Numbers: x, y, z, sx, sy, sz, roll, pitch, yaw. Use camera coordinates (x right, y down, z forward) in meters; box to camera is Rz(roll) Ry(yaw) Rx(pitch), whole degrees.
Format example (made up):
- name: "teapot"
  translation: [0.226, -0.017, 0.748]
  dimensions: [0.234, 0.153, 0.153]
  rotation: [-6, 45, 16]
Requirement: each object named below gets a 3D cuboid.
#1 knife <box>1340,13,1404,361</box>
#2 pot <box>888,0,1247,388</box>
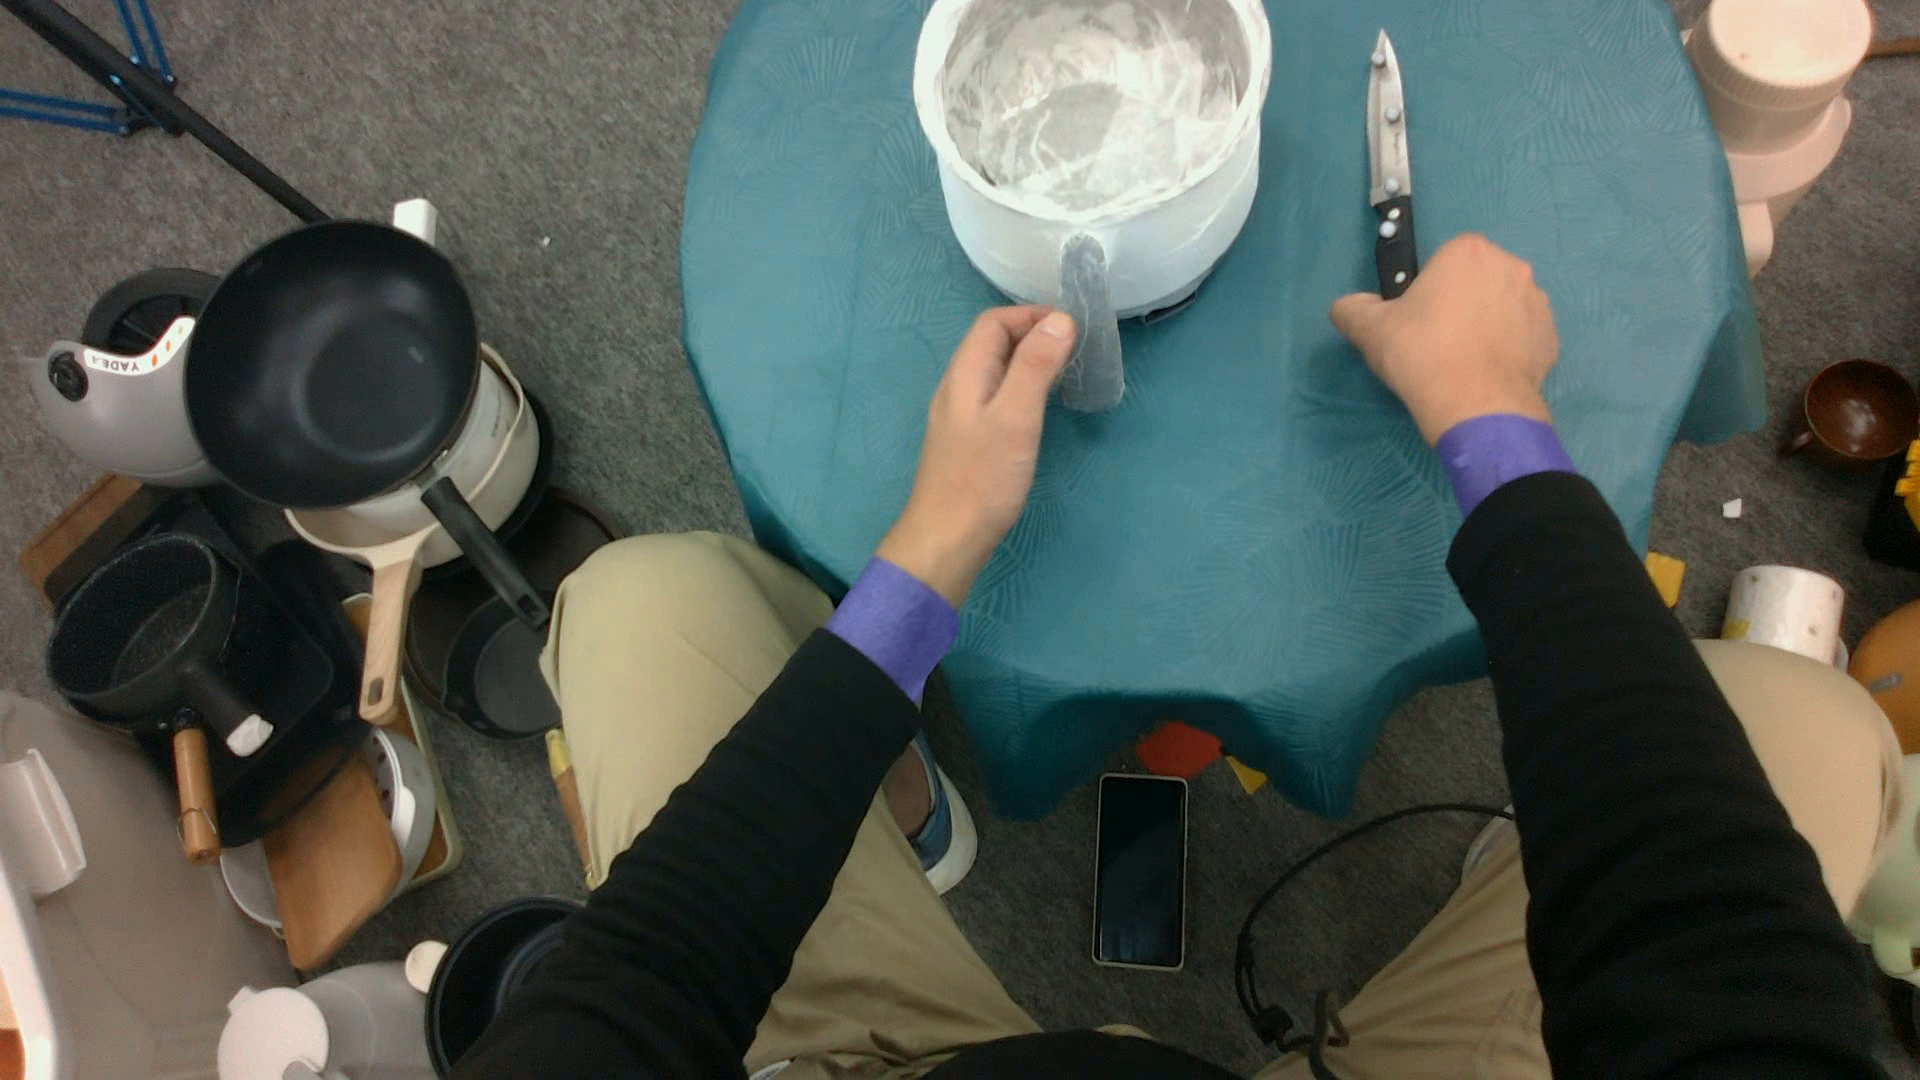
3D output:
- name: "knife"
  translation: [0.228, -0.206, 0.767]
  dimensions: [0.024, 0.016, 0.239]
  rotation: [-26, 53, 47]
- name: "pot"
  translation: [0.059, -0.205, 0.732]
  dimensions: [0.178, 0.136, 0.234]
  rotation: [-1, 72, 8]
